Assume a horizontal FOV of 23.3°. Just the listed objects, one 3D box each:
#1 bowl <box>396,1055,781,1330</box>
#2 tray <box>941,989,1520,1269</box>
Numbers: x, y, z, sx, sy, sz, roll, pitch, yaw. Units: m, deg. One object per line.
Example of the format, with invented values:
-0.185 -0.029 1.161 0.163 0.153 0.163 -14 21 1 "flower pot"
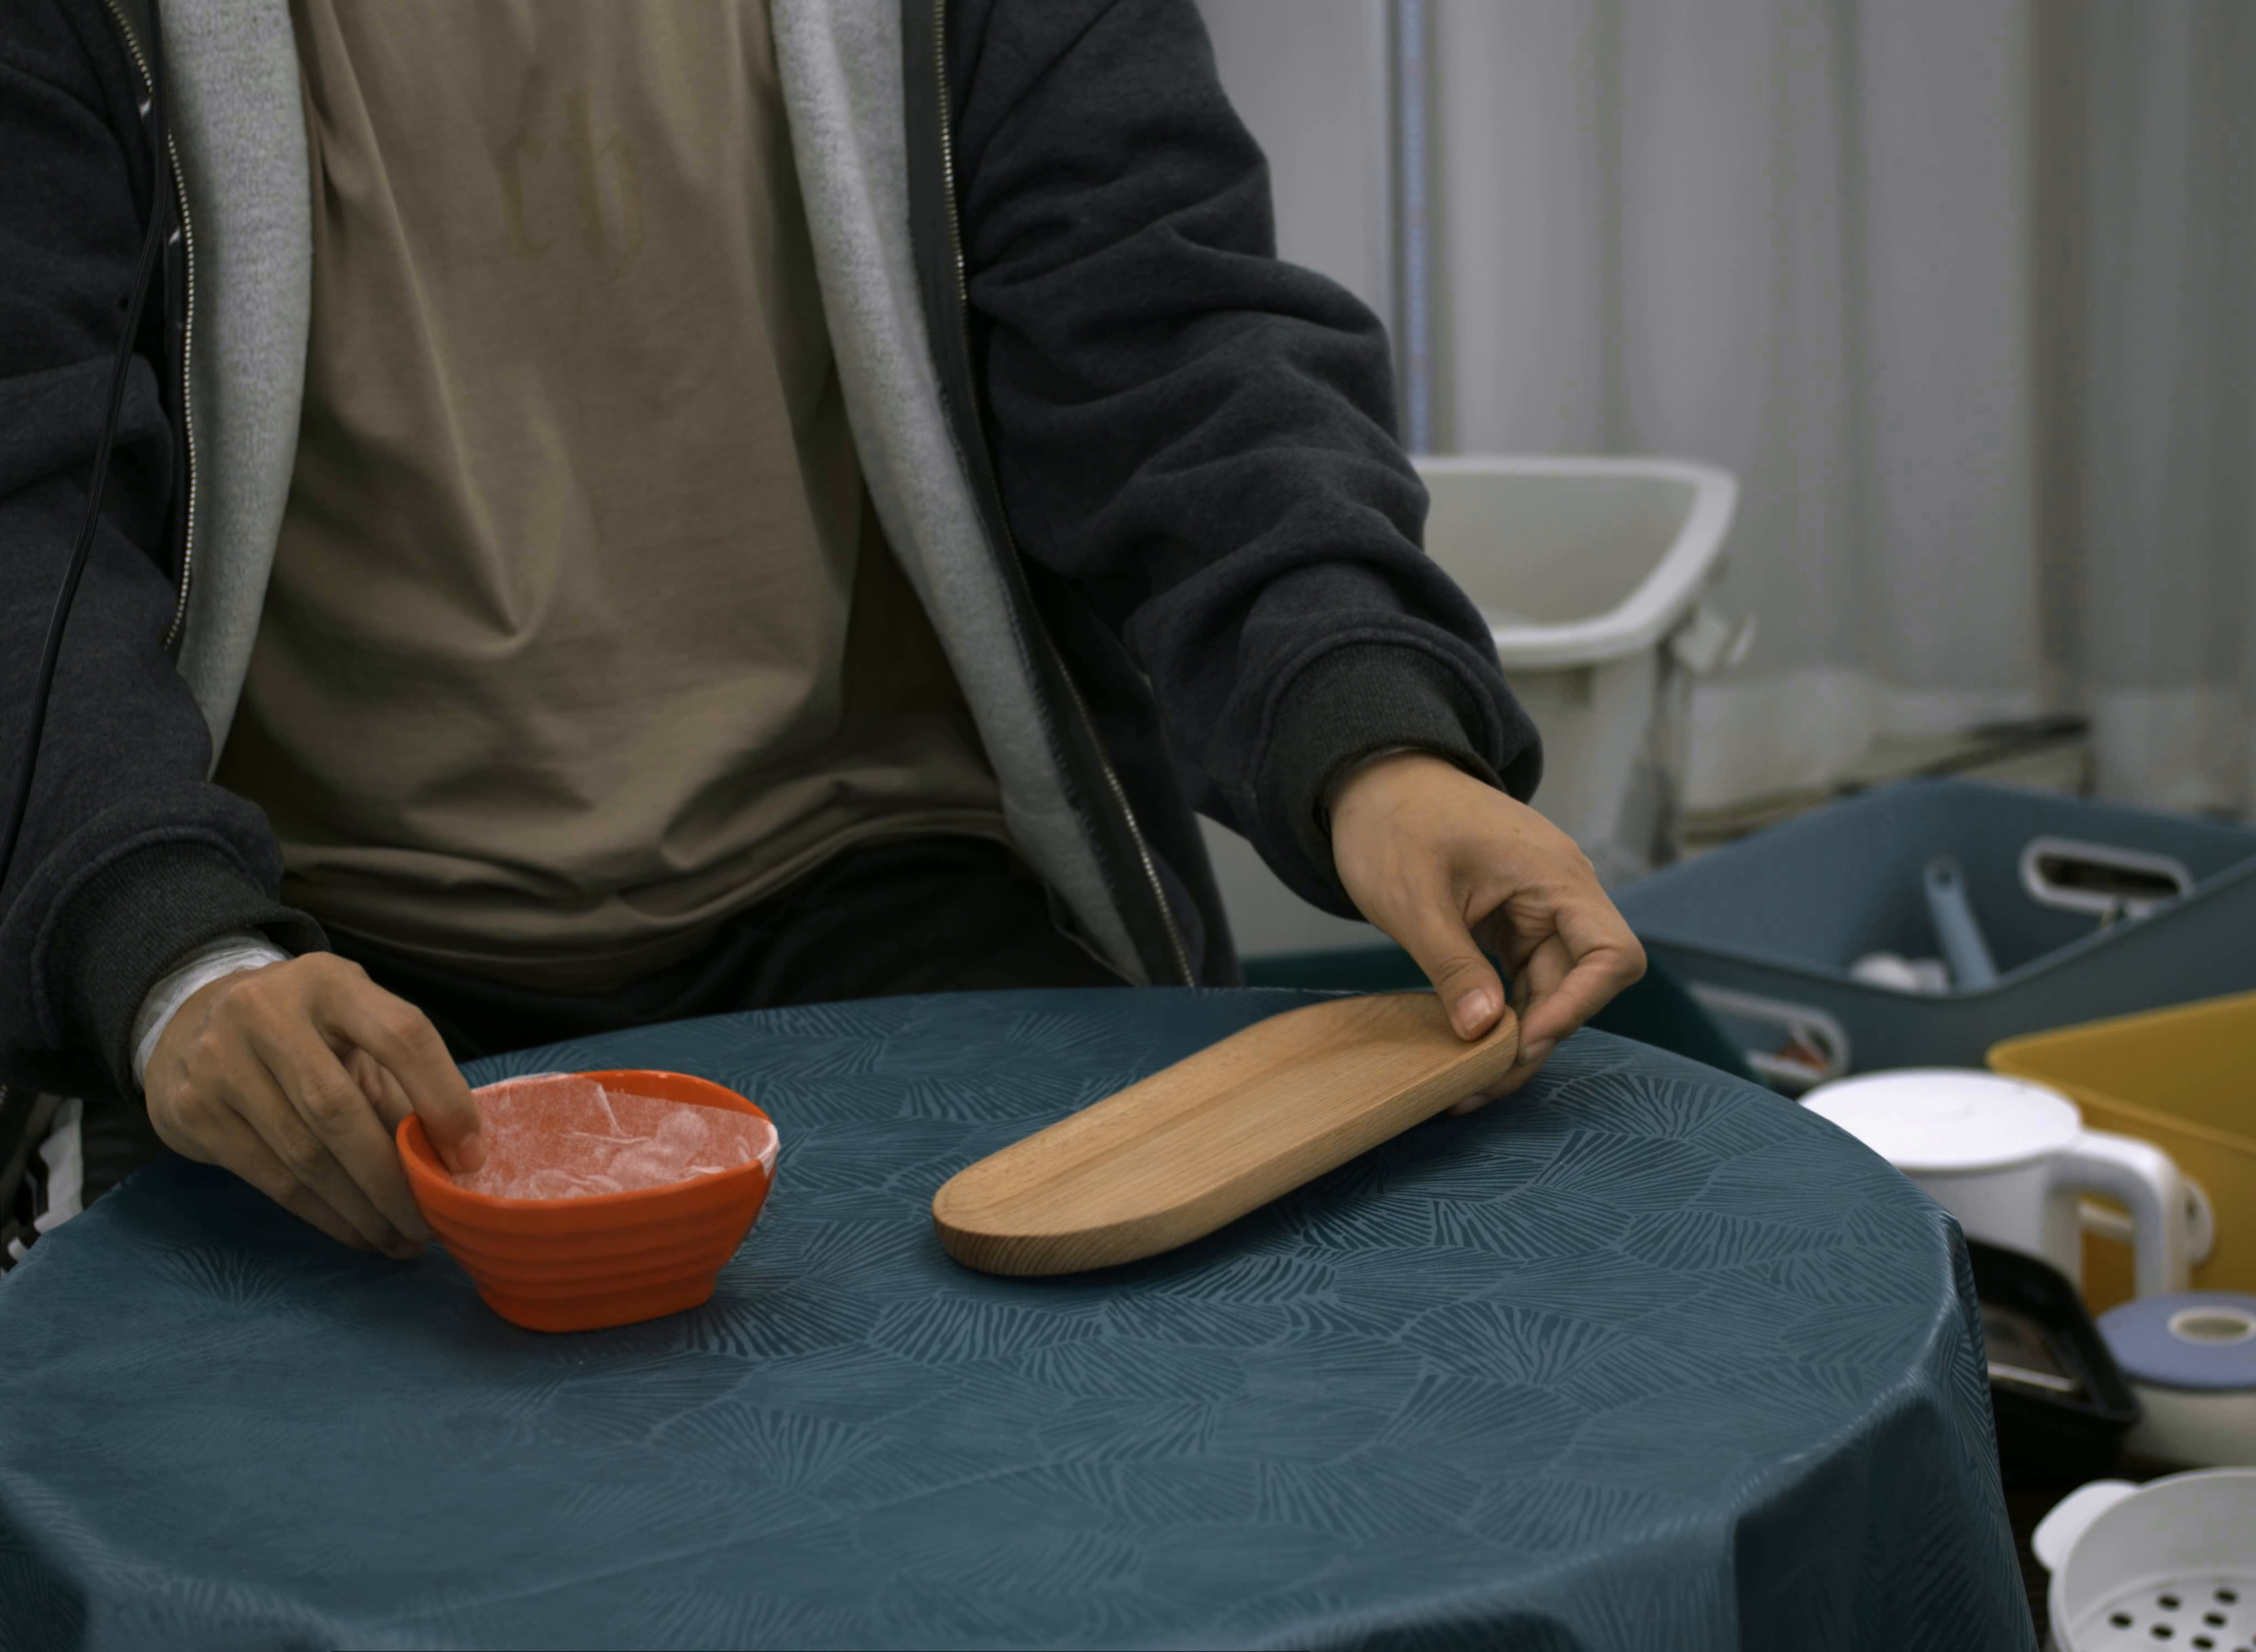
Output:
-0.161 0.113 1.641 0.118 0.051 0.120 -1 19 0 "bowl"
0.035 0.094 1.721 0.102 0.020 0.231 2 17 42 "tray"
